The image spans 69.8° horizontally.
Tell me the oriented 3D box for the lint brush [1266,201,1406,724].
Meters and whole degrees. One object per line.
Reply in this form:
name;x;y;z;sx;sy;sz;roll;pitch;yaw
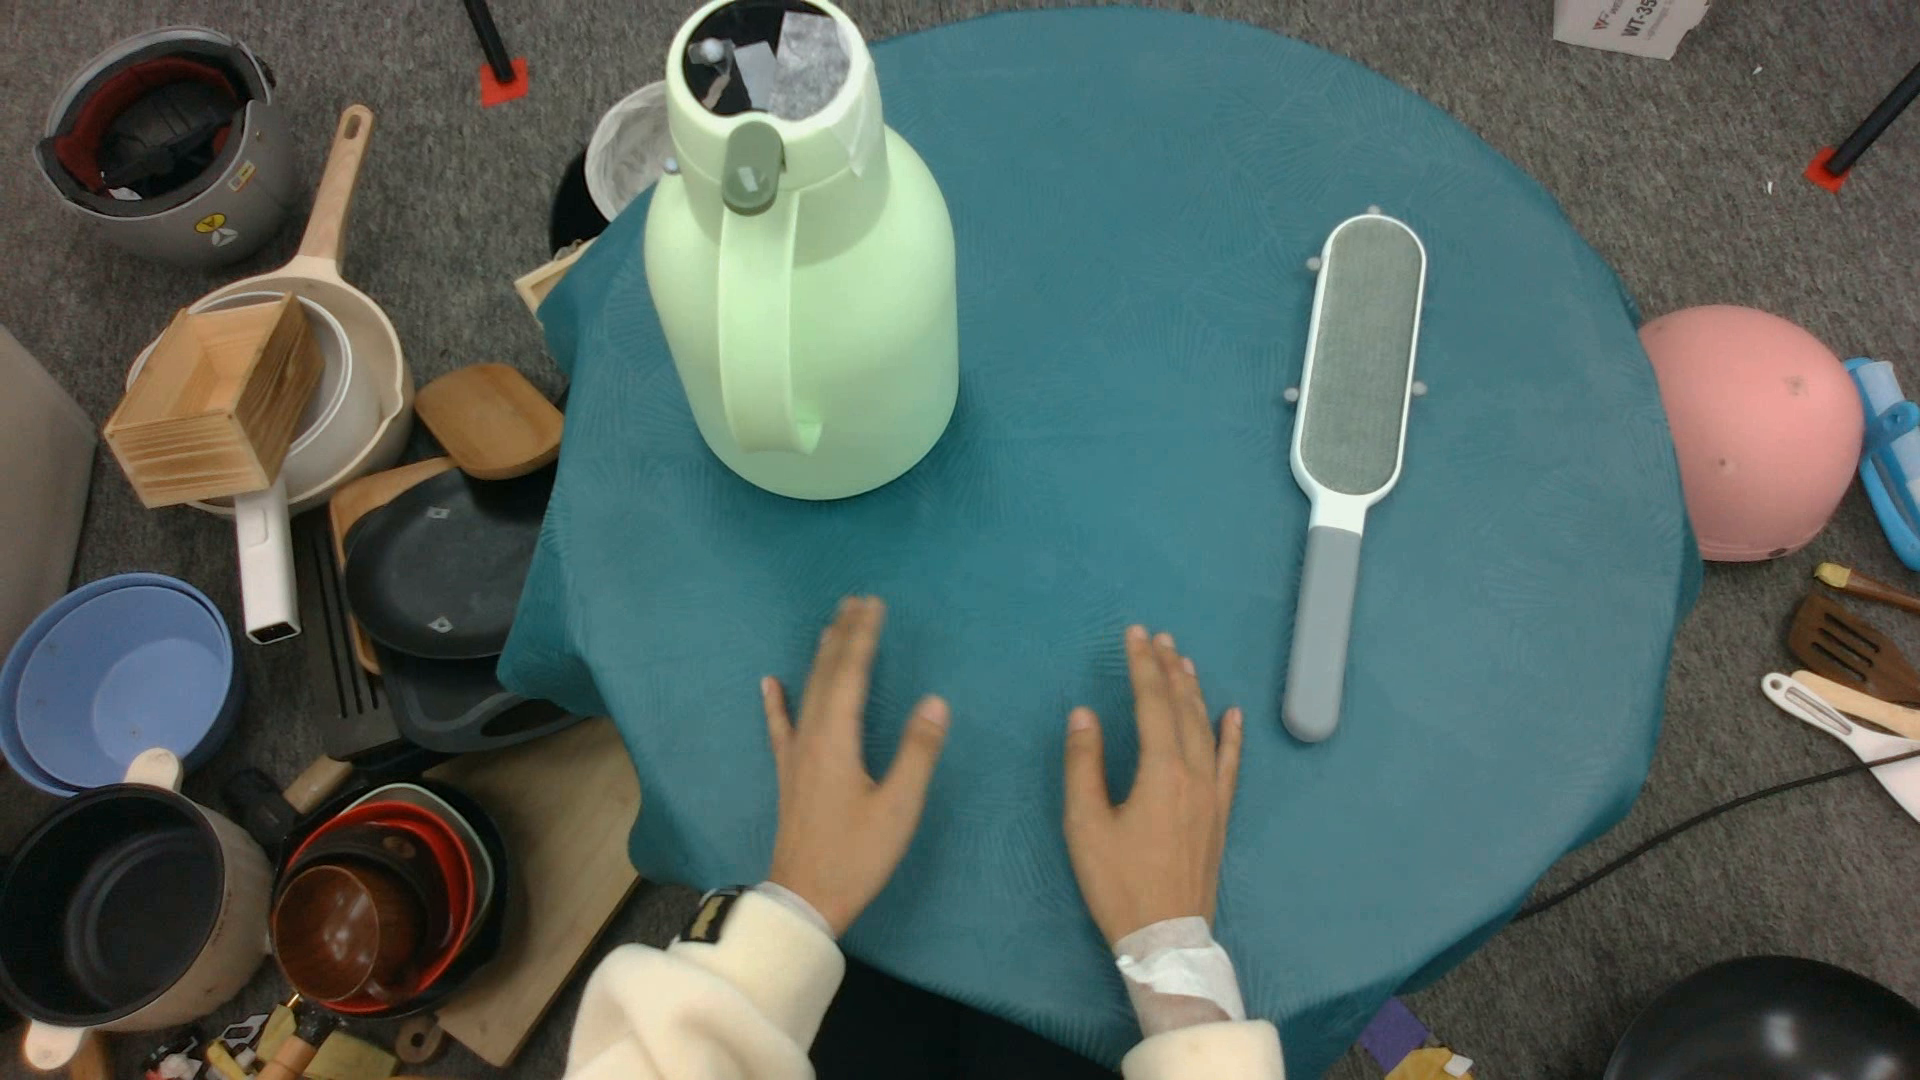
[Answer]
lint brush;0.193;-0.051;0.727;0.060;0.021;0.310;13;68;1

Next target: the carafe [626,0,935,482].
carafe;-0.083;-0.124;0.630;0.144;0.256;0.187;4;71;-1
